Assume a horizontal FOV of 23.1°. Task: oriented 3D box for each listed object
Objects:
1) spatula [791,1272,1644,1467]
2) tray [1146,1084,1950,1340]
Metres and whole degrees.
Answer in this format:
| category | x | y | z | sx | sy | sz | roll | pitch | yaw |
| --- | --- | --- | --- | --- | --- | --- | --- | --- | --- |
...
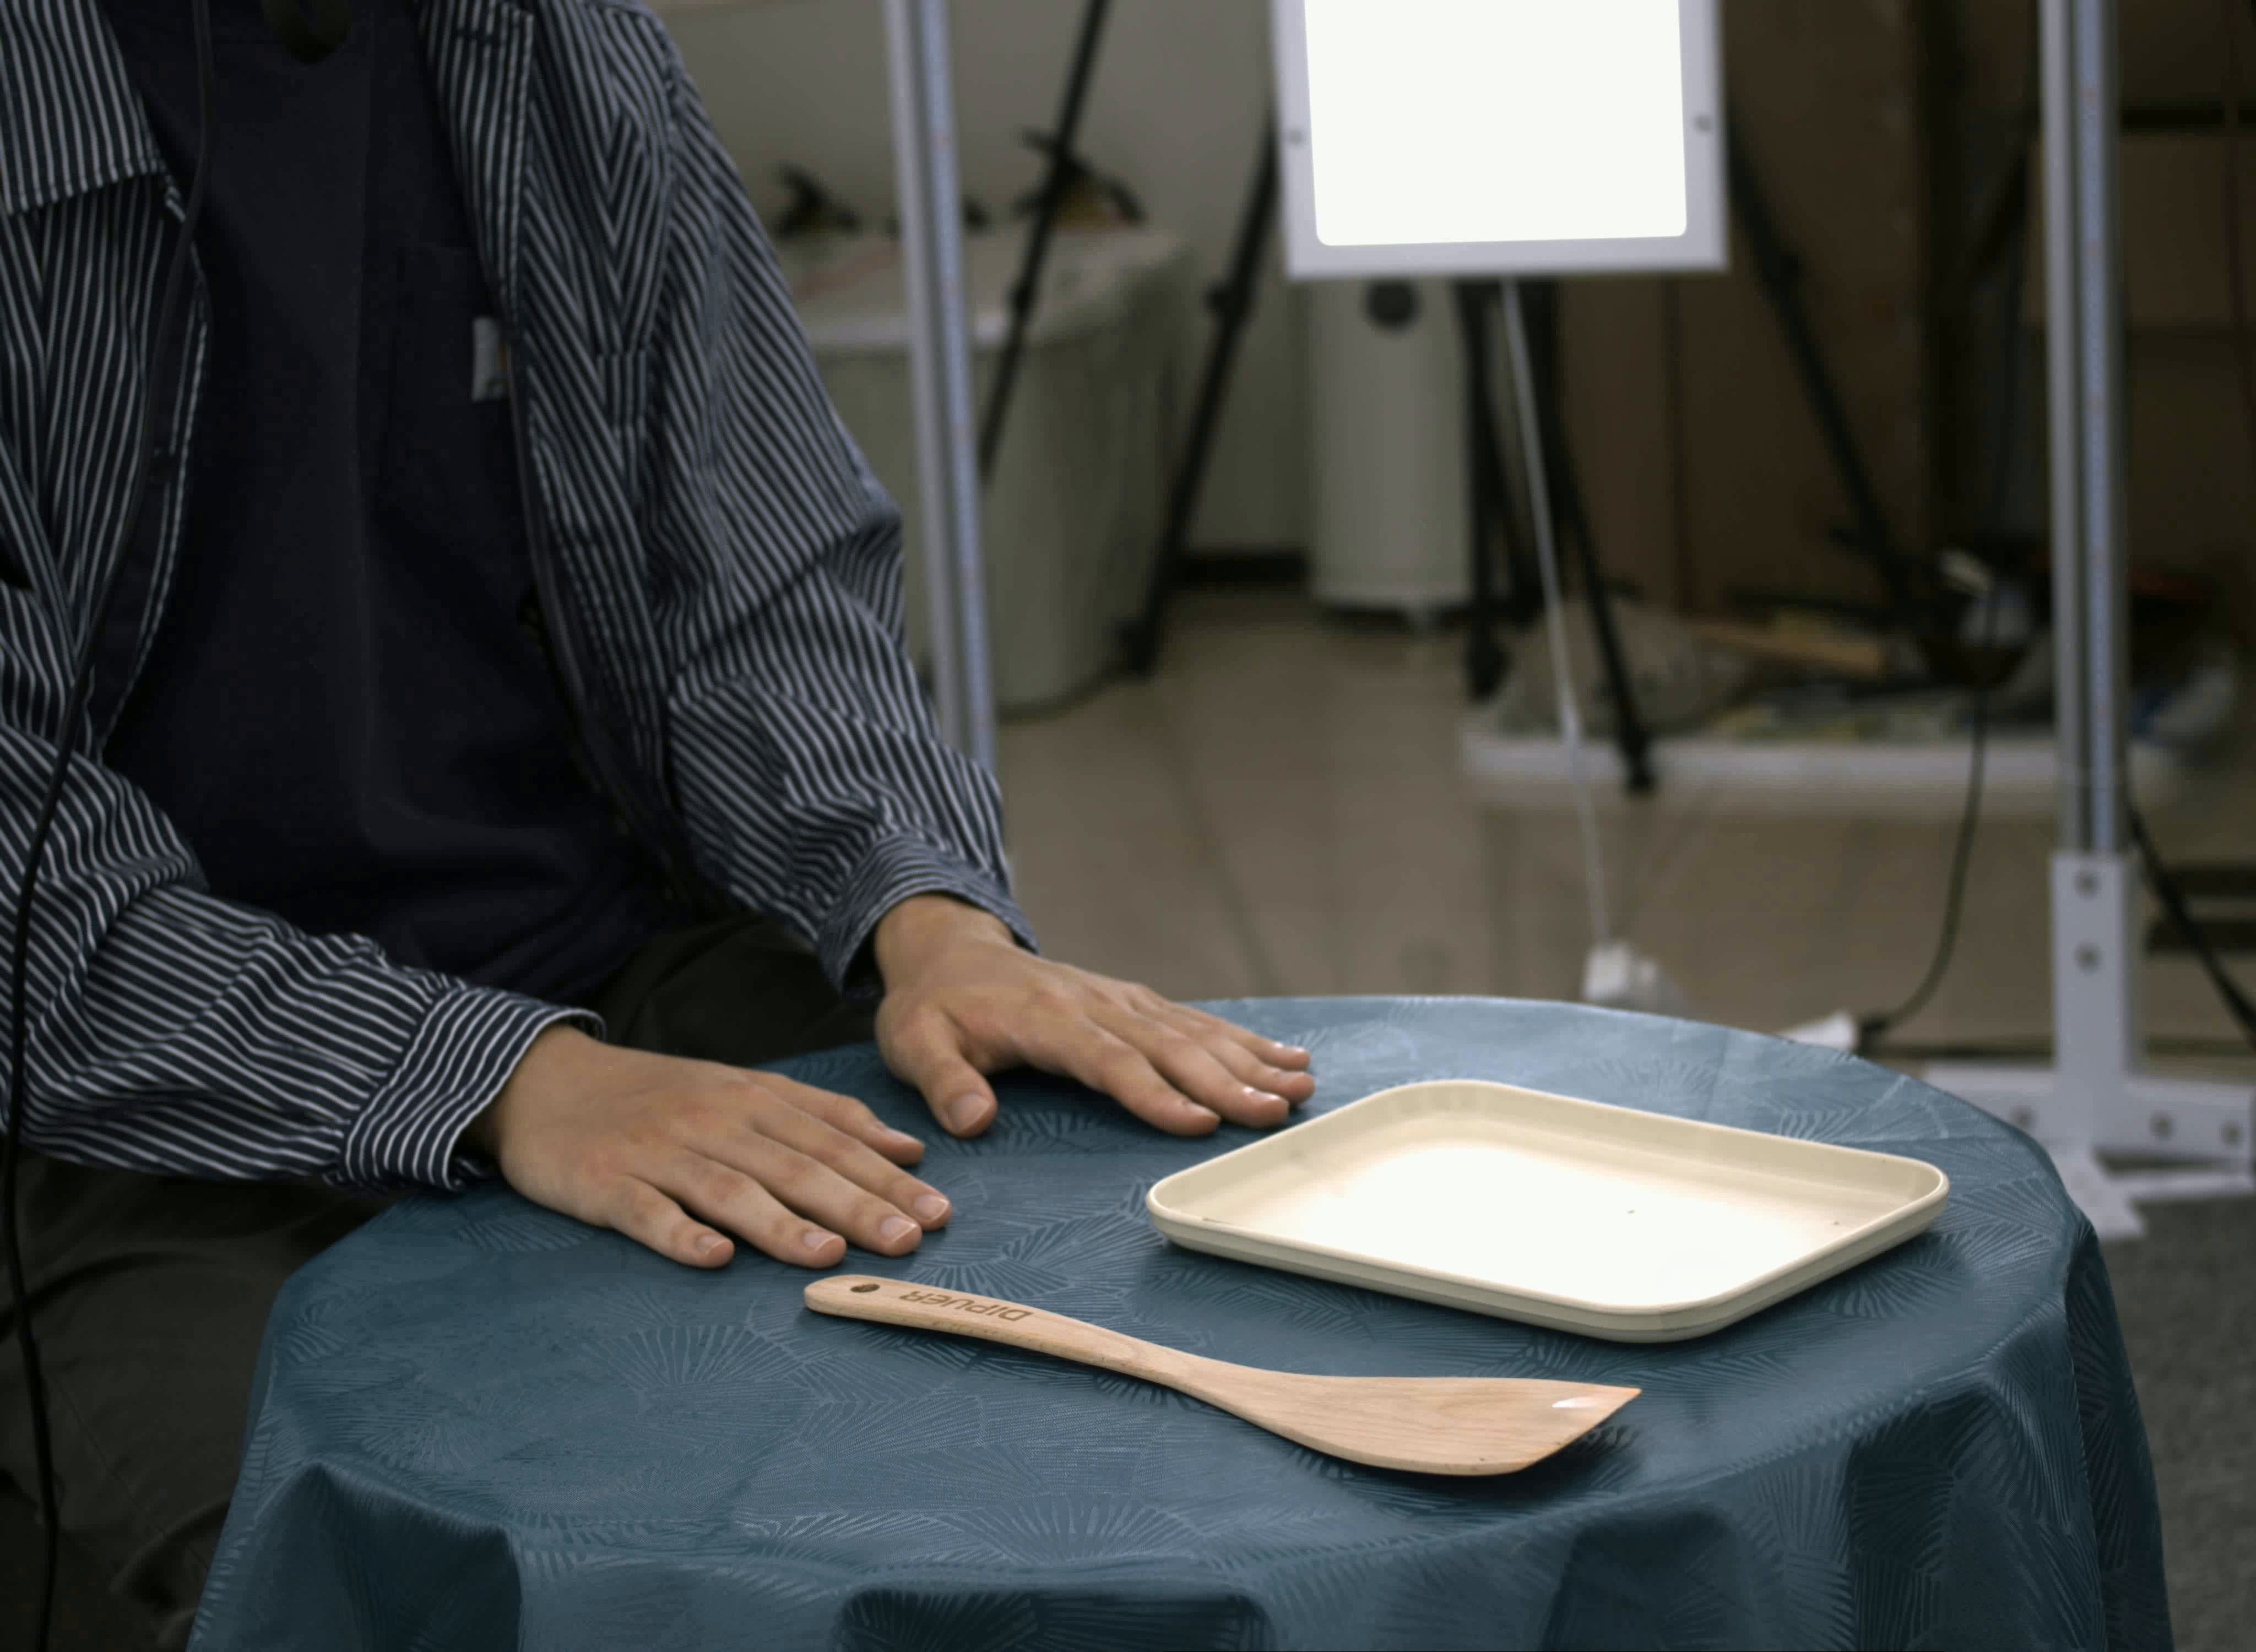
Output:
| category | x | y | z | sx | sy | sz | roll | pitch | yaw |
| --- | --- | --- | --- | --- | --- | --- | --- | --- | --- |
| spatula | 0.018 | 0.163 | 1.702 | 0.334 | 0.016 | 0.078 | 7 | 17 | 42 |
| tray | 0.138 | 0.126 | 1.807 | 0.245 | 0.017 | 0.167 | 8 | 18 | 44 |
